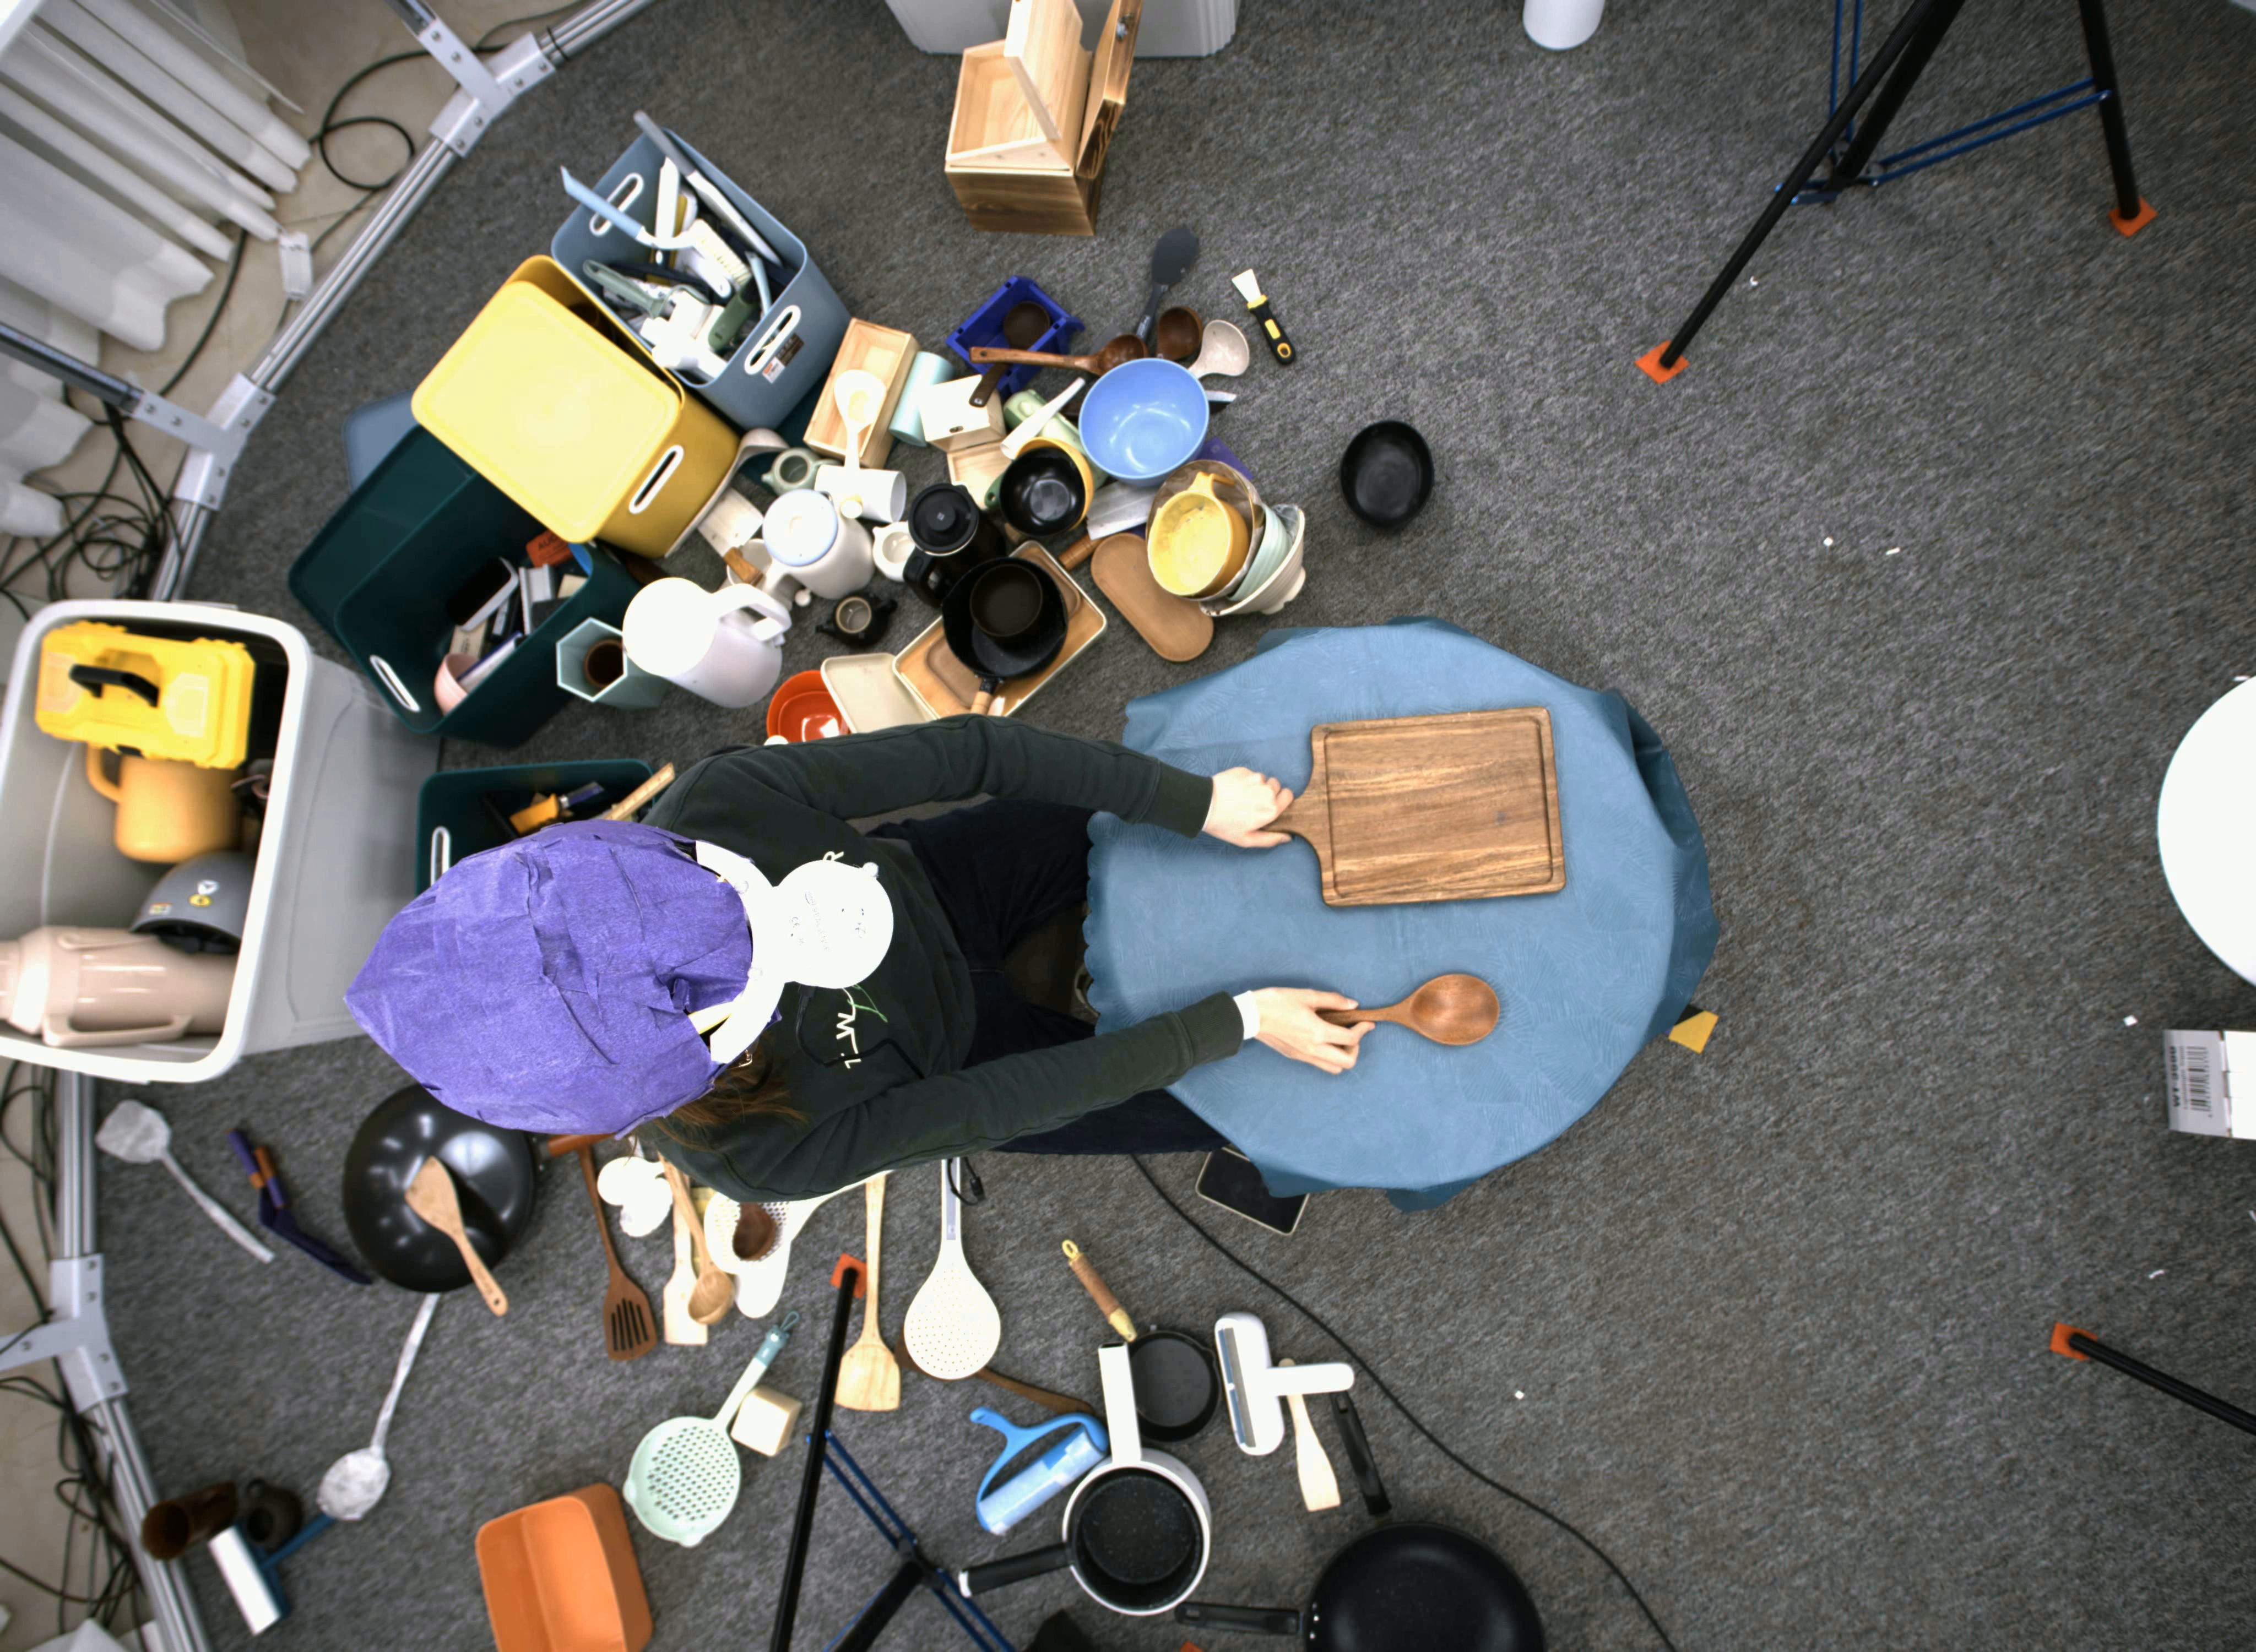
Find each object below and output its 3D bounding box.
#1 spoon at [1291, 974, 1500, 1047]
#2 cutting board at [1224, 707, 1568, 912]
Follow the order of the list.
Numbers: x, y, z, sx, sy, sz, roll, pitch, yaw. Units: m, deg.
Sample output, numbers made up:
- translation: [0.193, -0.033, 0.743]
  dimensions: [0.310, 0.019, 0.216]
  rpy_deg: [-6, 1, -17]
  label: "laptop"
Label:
- translation: [0.279, 0.196, 1.445]
  dimensions: [0.217, 0.017, 0.075]
  rpy_deg: [-6, 87, 9]
  label: "spoon"
- translation: [0.277, -0.015, 1.456]
  dimensions: [0.353, 0.023, 0.200]
  rpy_deg: [-4, 86, 8]
  label: "cutting board"
